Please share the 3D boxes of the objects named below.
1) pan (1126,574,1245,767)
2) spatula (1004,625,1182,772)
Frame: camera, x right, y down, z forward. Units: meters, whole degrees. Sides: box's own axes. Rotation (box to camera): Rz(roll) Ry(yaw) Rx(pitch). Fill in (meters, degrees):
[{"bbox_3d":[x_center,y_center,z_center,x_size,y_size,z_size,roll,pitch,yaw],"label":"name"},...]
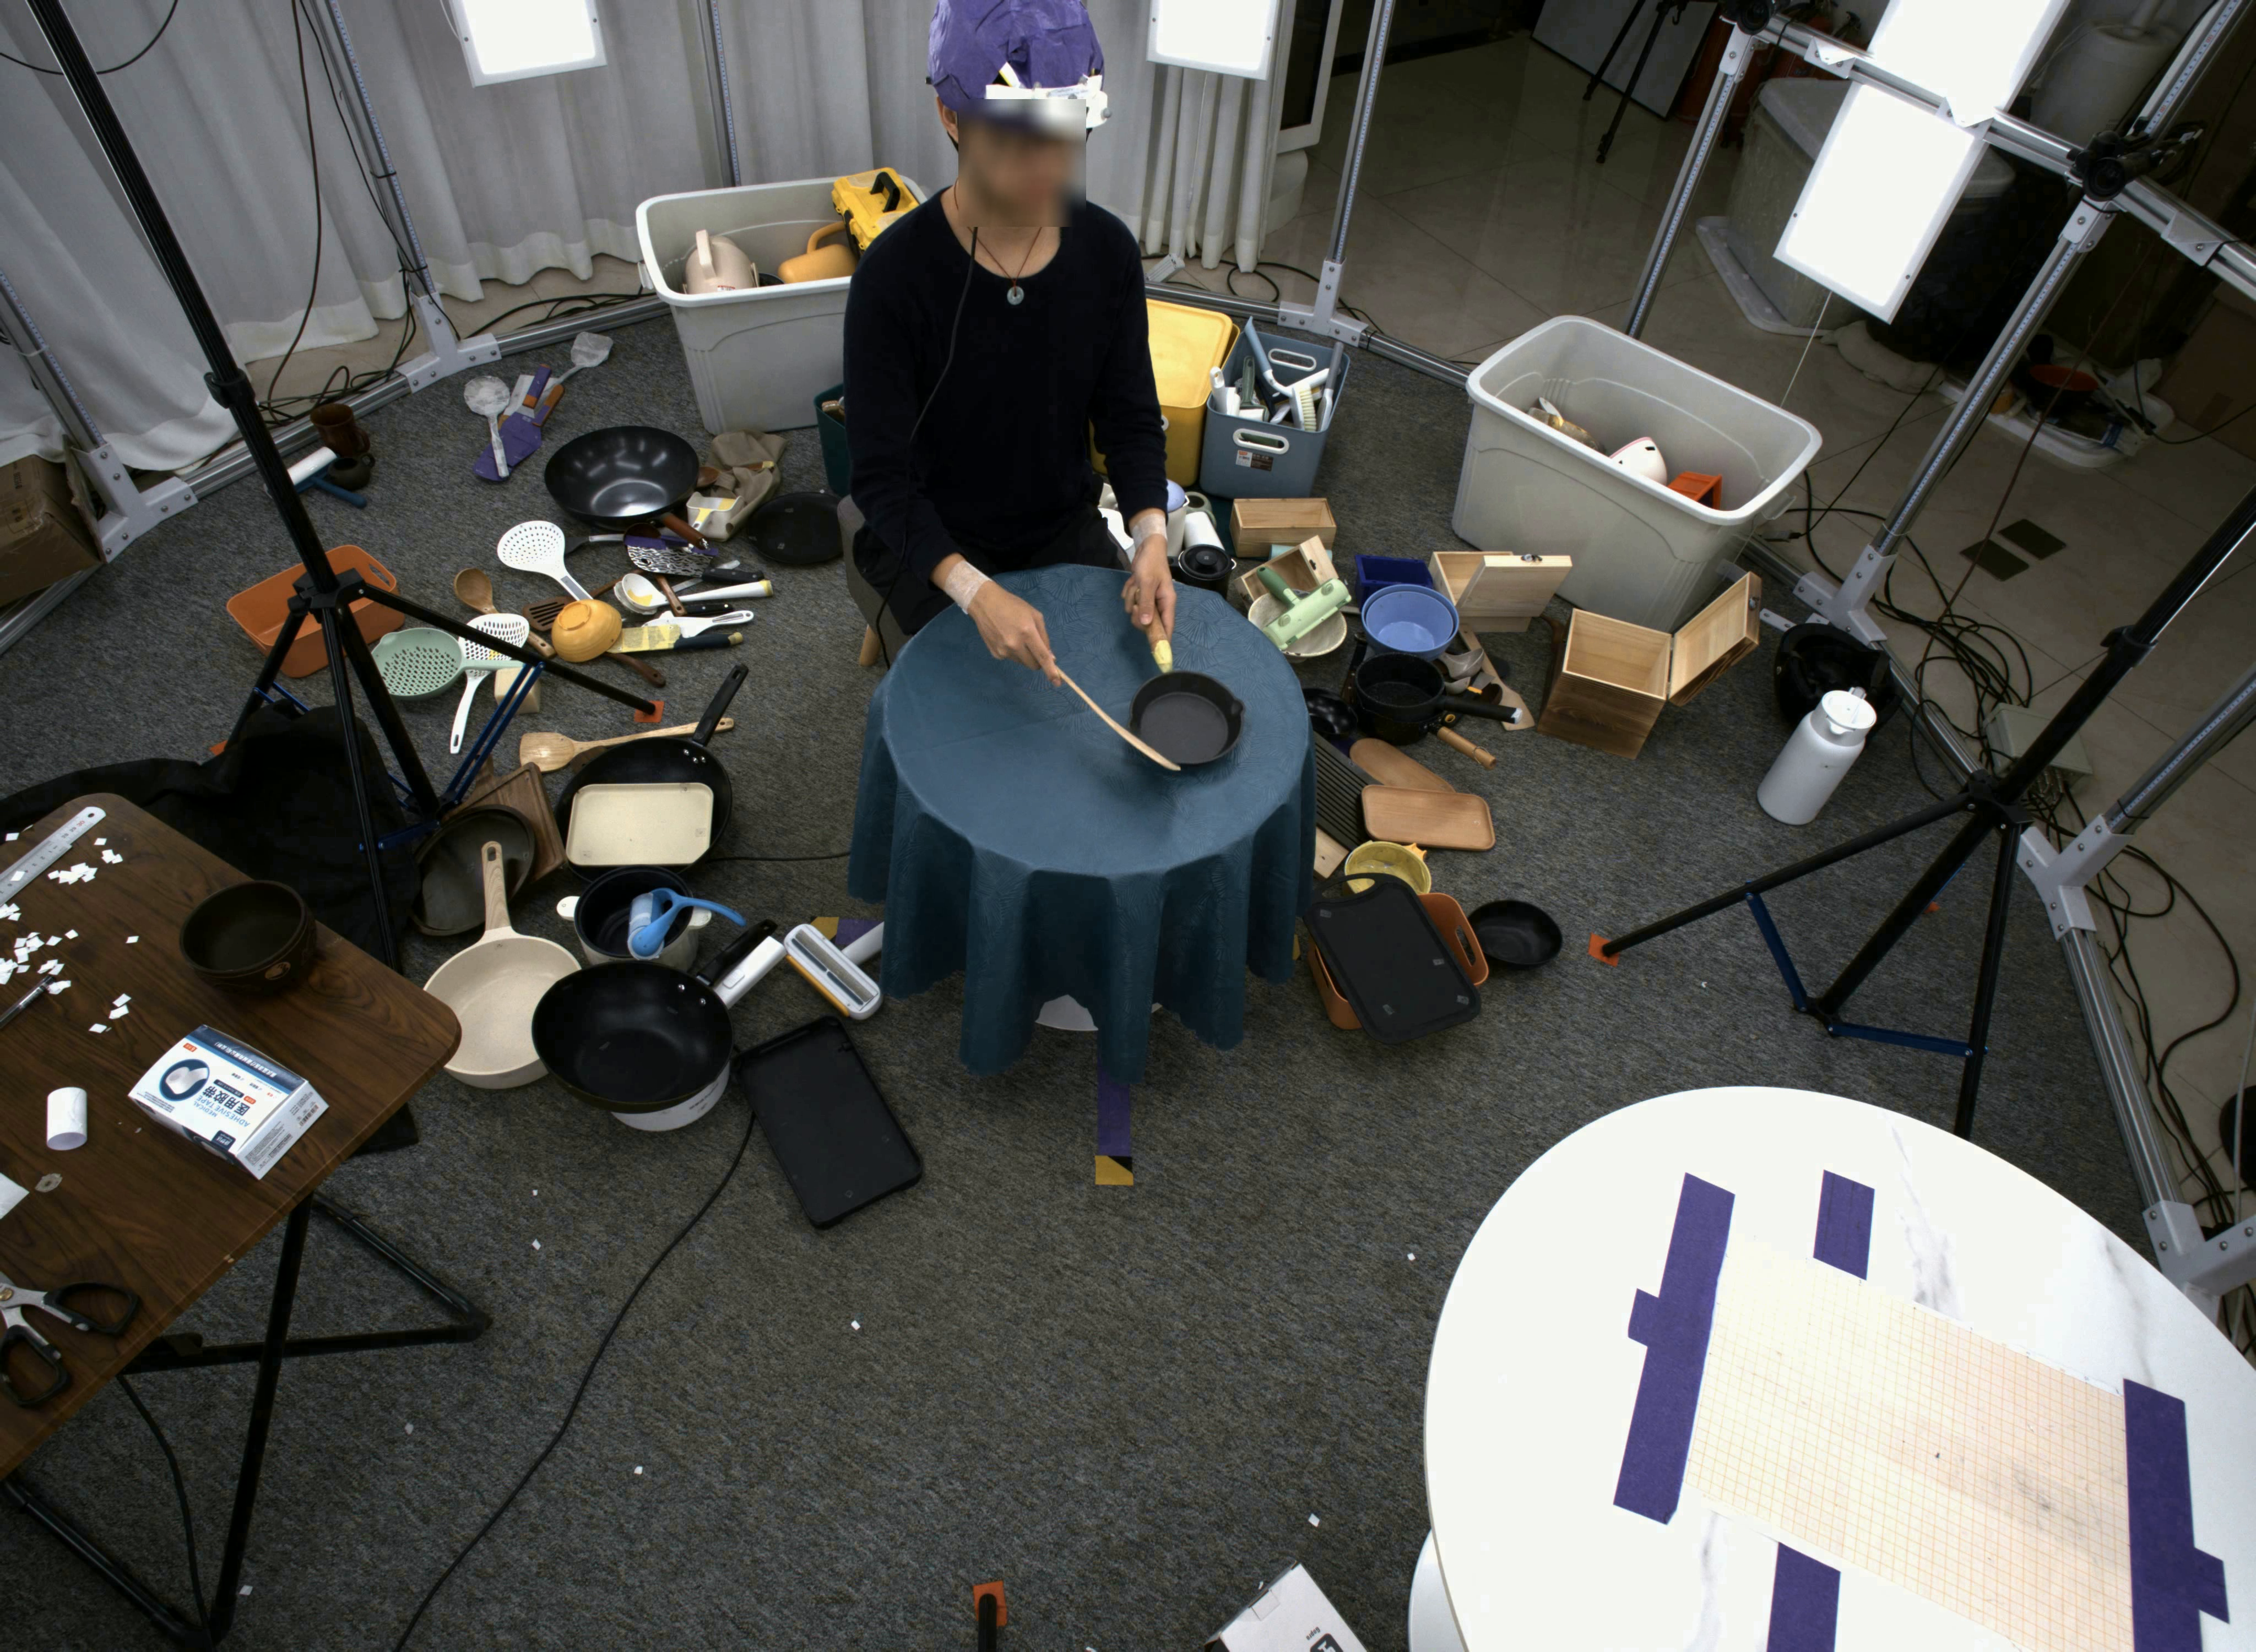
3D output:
[{"bbox_3d":[0.058,-0.219,1.804,0.169,0.048,0.331,-9,60,-11],"label":"pan"},{"bbox_3d":[-0.049,-0.170,1.716,0.331,0.079,0.016,43,102,18],"label":"spatula"}]
